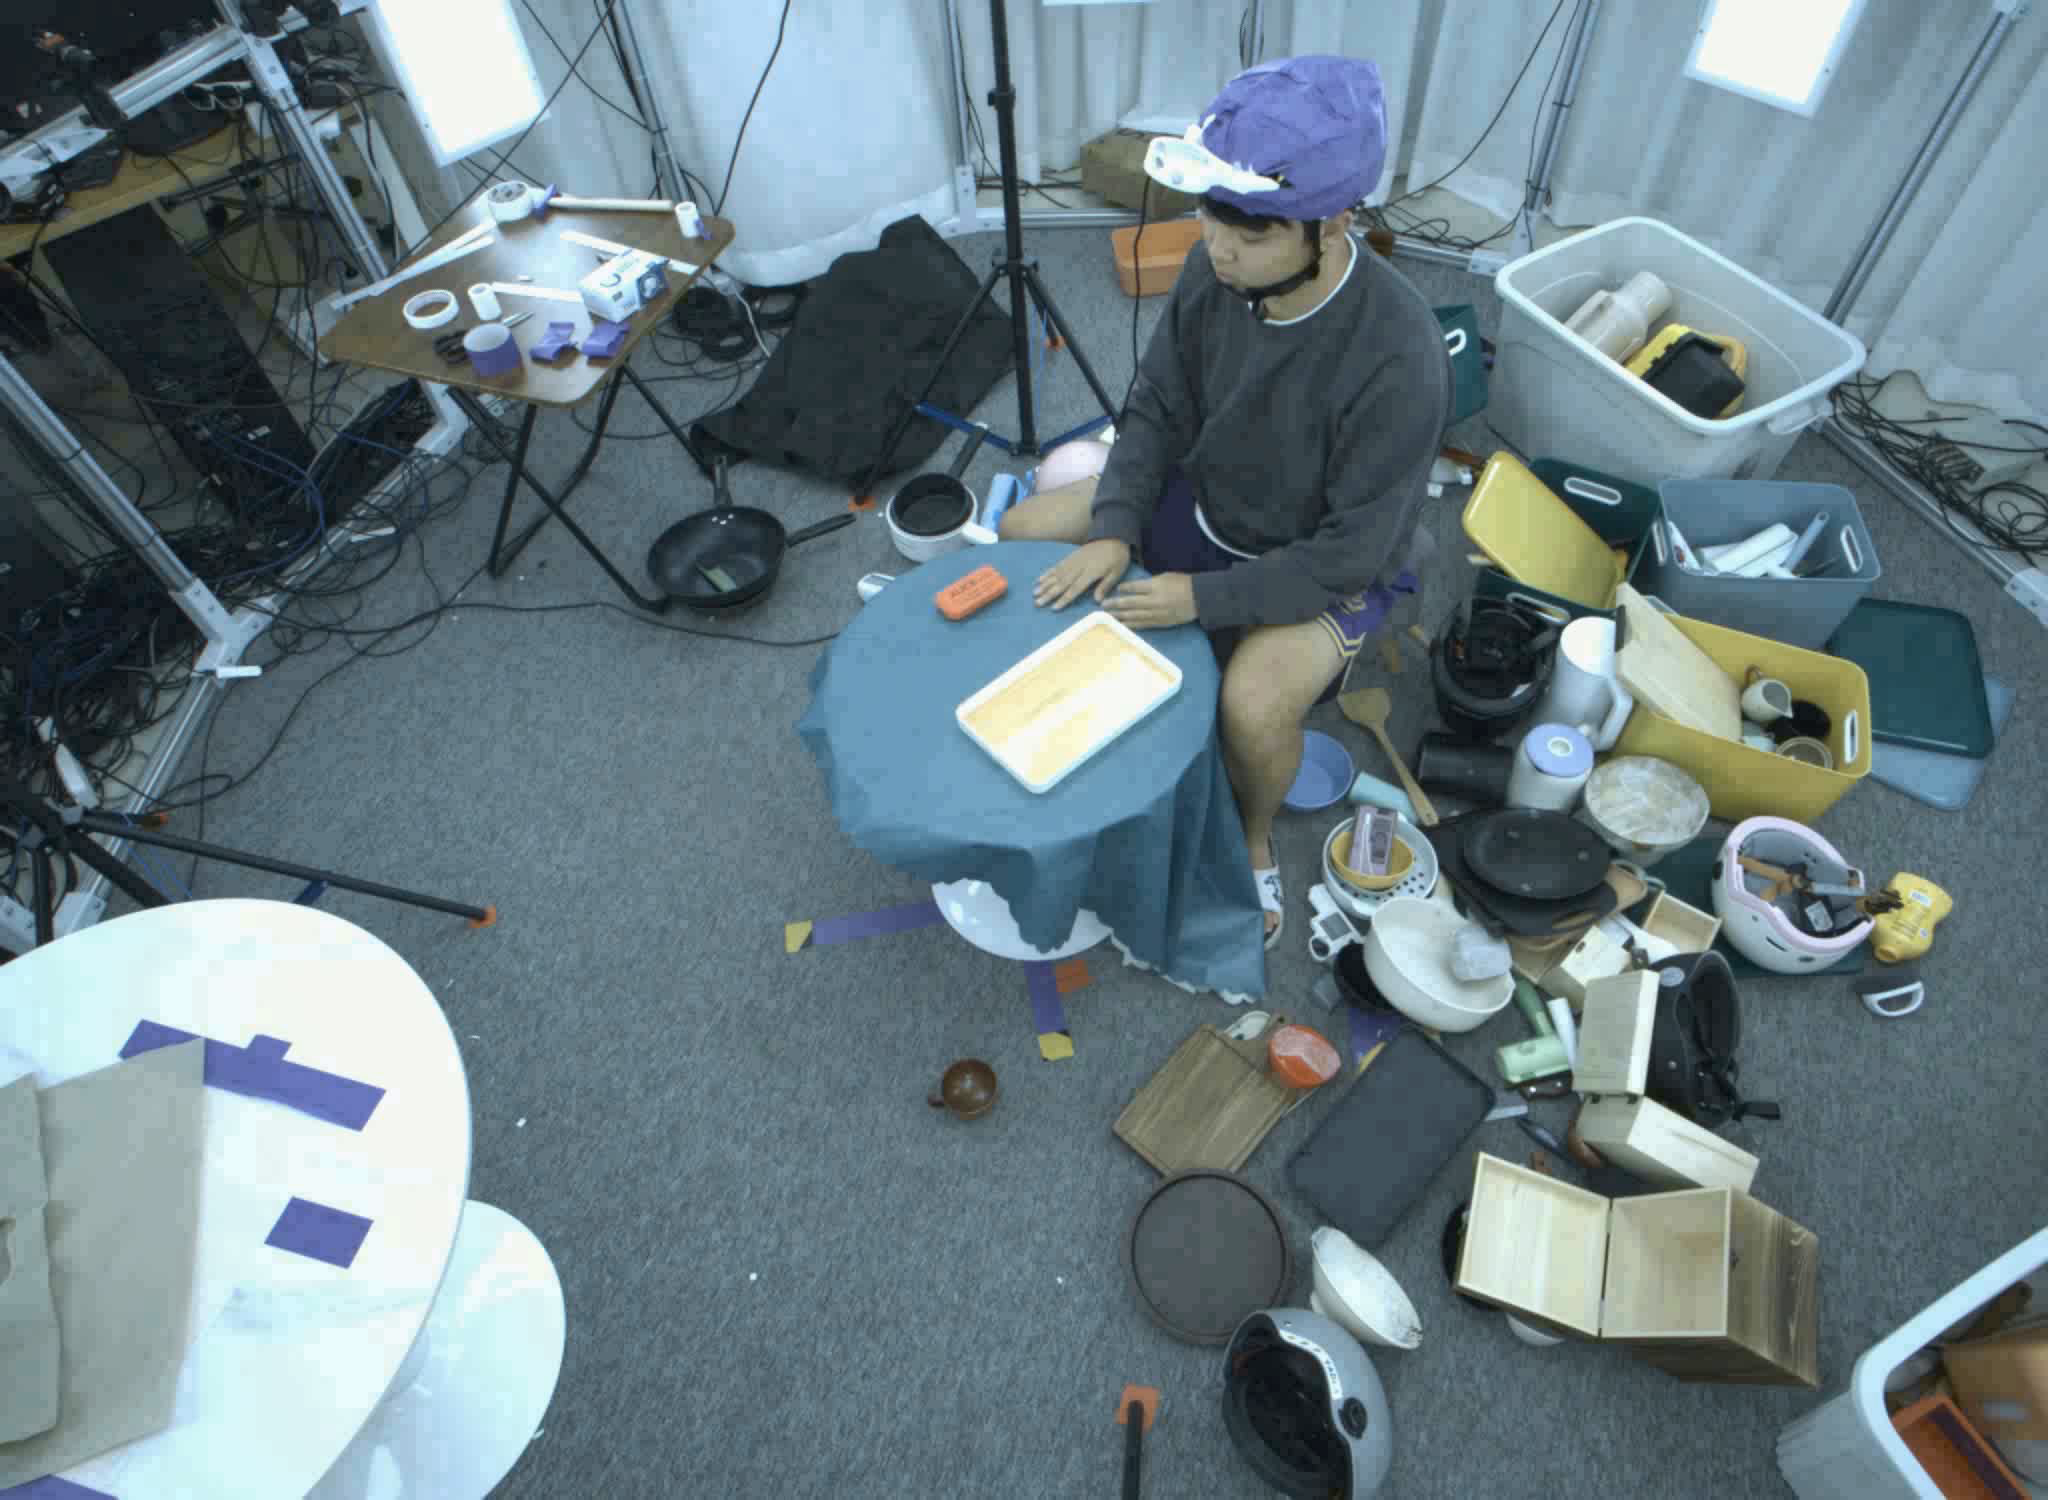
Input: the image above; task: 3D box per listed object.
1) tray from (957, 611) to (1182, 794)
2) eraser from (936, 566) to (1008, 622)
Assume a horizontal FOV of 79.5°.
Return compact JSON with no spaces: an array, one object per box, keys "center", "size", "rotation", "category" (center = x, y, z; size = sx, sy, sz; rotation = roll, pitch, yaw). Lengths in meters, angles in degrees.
[{"center":[0.069,-0.076,1.826],"size":[0.302,0.028,0.188],"rotation":[-36,61,-22],"category":"tray"},{"center":[-0.083,-0.249,1.955],"size":[0.109,0.023,0.058],"rotation":[-34,60,-19],"category":"eraser"}]
